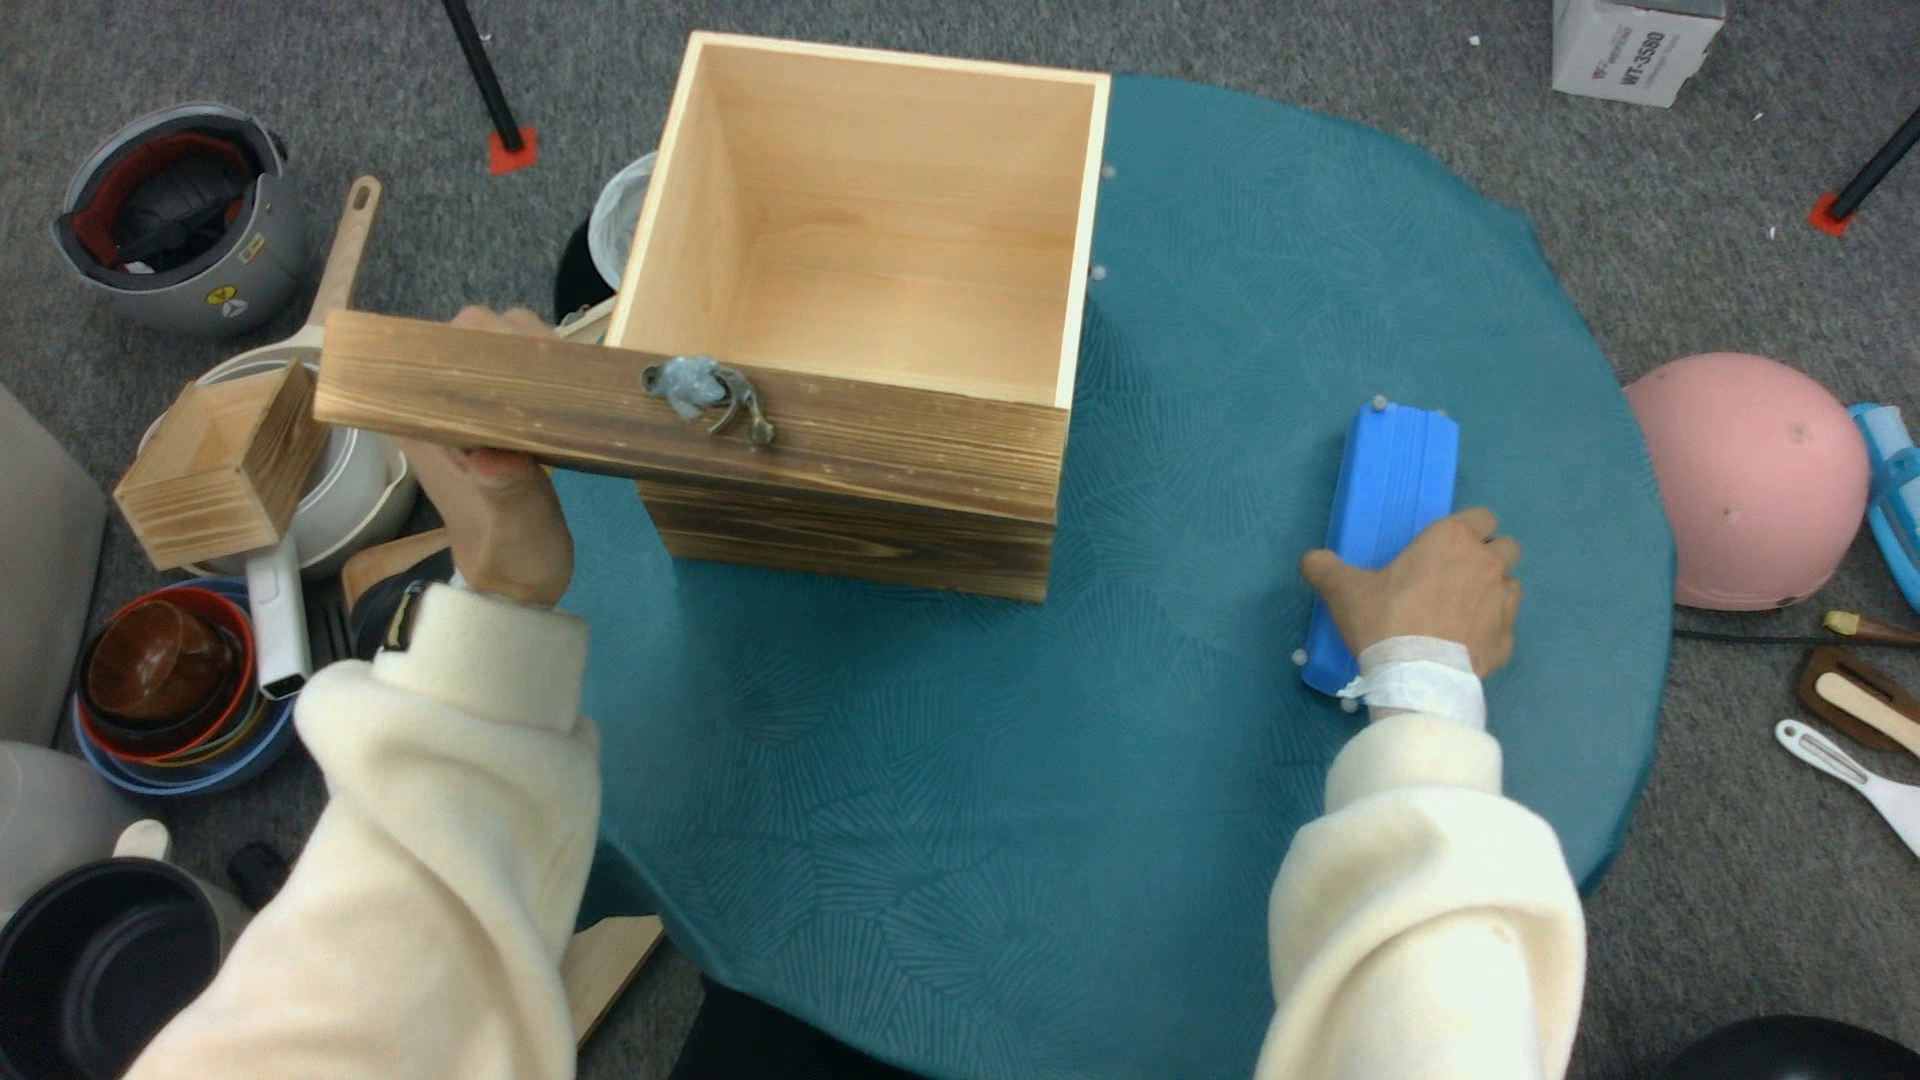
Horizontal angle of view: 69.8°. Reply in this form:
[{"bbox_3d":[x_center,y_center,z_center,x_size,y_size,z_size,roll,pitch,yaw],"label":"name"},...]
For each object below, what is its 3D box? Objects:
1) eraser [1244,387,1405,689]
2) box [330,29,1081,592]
[{"bbox_3d":[0.190,-0.006,0.701,0.054,0.047,0.163,20,63,-2],"label":"eraser"},{"bbox_3d":[-0.059,-0.099,0.581,0.209,0.374,0.323,7,67,2],"label":"box"}]
